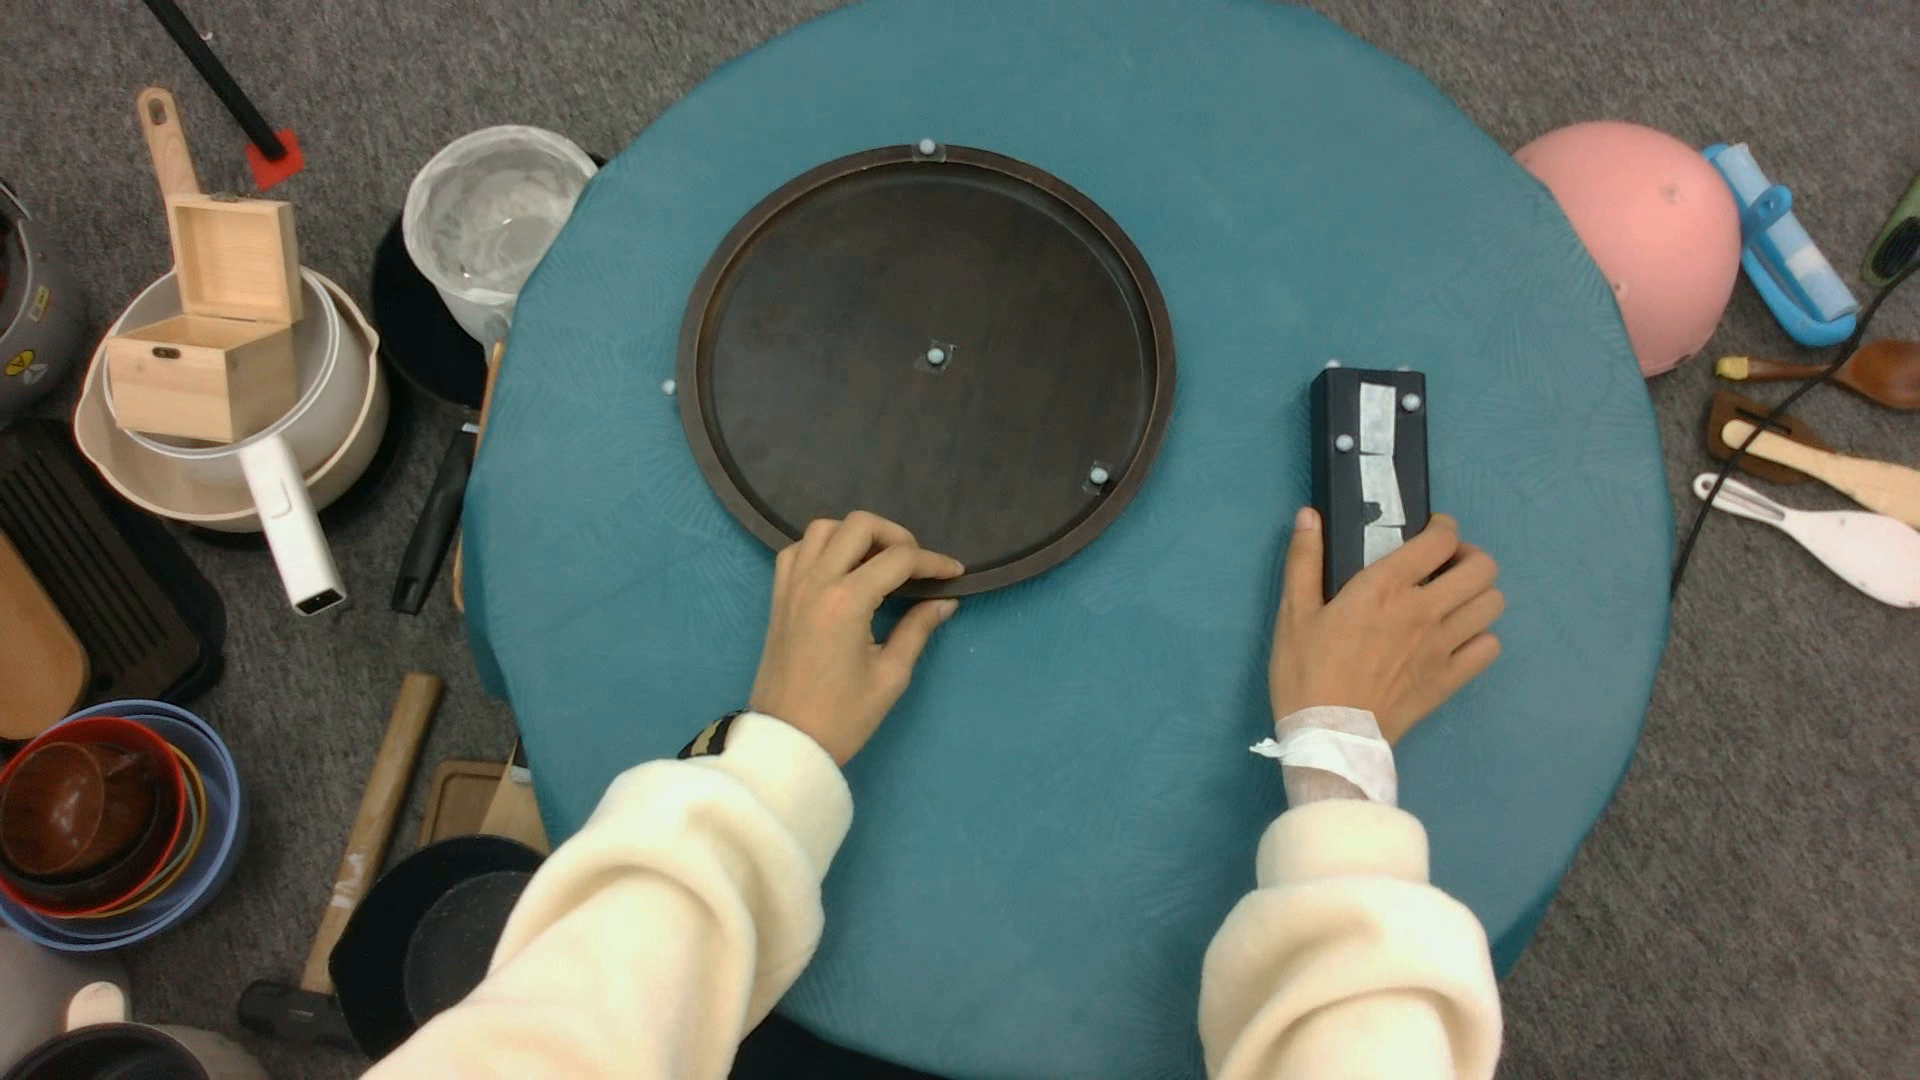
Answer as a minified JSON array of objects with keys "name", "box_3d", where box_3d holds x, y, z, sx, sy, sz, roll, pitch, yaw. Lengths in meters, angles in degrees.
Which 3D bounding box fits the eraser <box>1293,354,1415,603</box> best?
[{"name":"eraser","box_3d":[0.193,-0.031,0.683,0.053,0.030,0.126,3,72,2]}]

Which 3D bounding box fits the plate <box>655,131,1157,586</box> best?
[{"name":"plate","box_3d":[-0.026,-0.096,0.700,0.255,0.029,0.255,1,69,-2]}]
